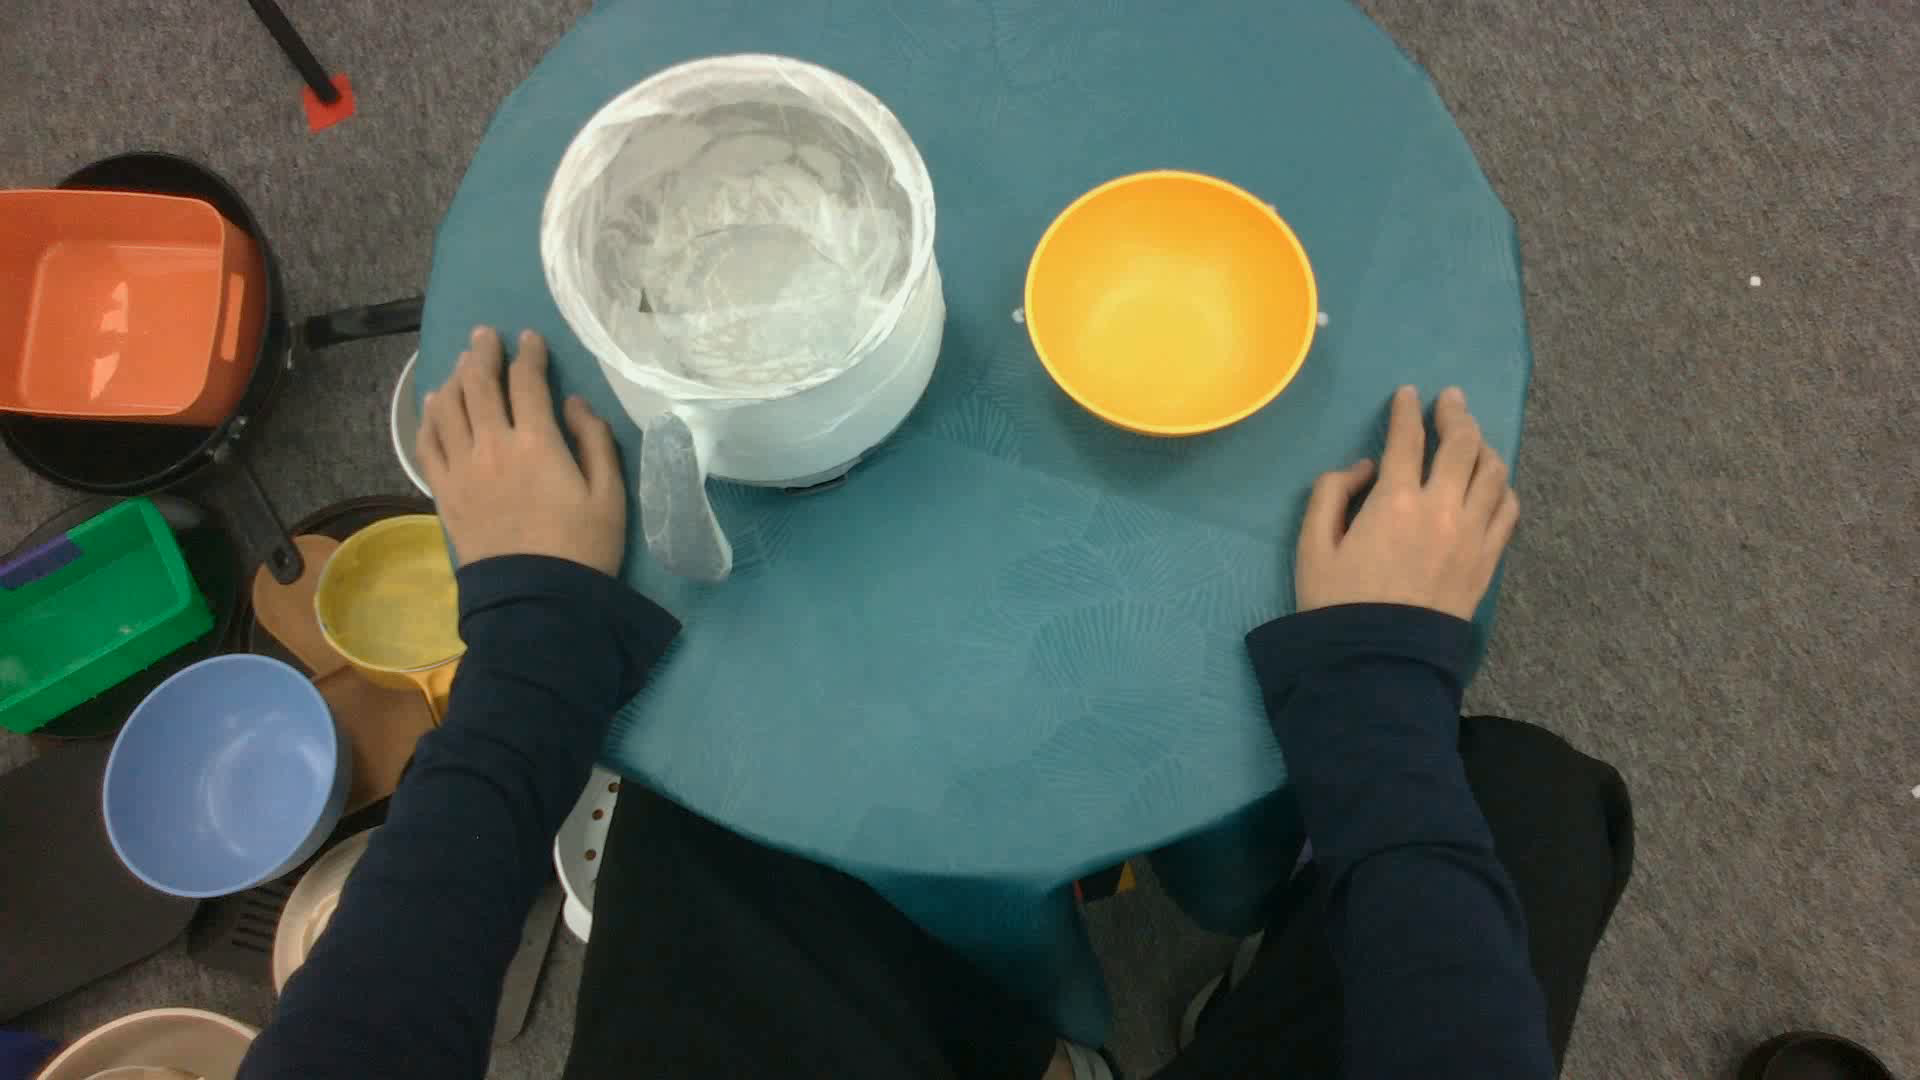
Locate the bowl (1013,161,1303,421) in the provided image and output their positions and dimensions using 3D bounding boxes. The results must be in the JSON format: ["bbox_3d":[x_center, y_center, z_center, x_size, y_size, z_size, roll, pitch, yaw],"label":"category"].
[{"bbox_3d":[0.099,-0.119,0.713,0.145,0.060,0.146,0,71,1],"label":"bowl"}]

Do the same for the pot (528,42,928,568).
[{"bbox_3d":[-0.112,-0.106,0.674,0.178,0.136,0.234,13,75,5],"label":"pot"}]
